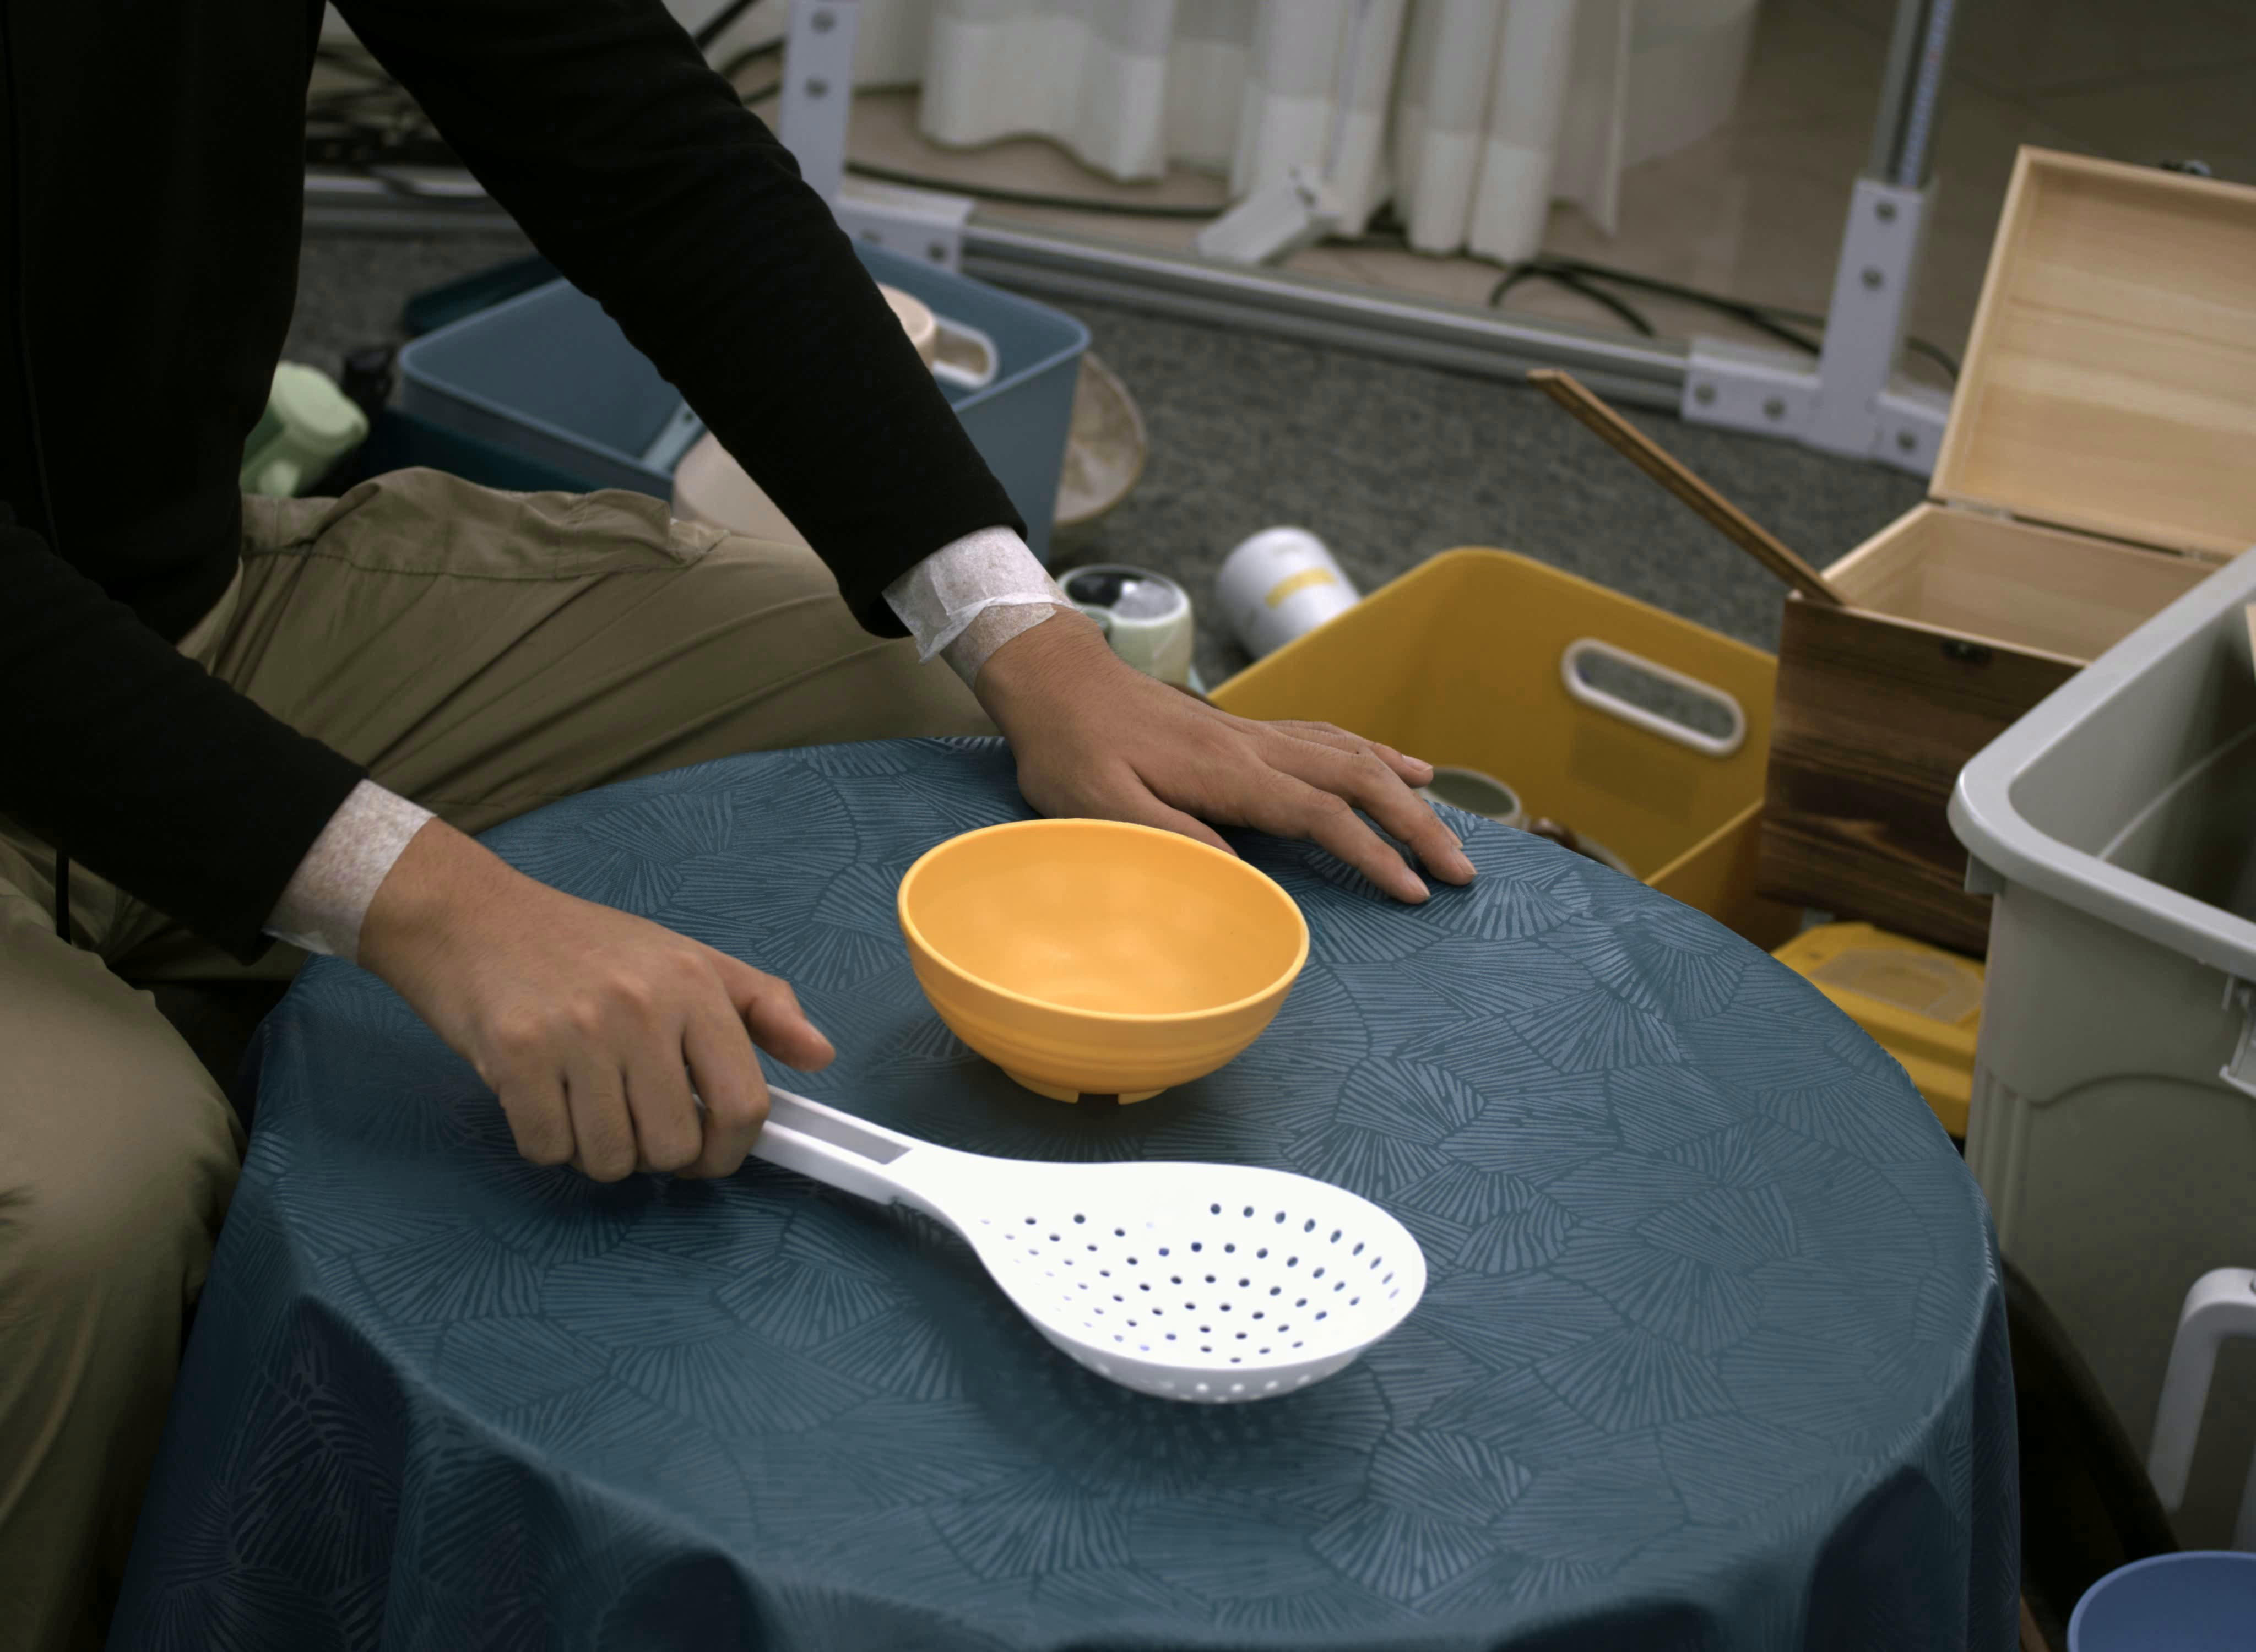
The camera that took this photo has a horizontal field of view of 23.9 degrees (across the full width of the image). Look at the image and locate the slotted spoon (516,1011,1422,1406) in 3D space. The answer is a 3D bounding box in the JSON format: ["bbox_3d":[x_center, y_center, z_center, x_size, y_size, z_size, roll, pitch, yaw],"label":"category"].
[{"bbox_3d":[-0.063,0.118,1.748,0.352,0.045,0.135,22,32,29],"label":"slotted spoon"}]

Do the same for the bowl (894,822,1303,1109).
[{"bbox_3d":[-0.014,0.058,1.867,0.145,0.060,0.146,7,26,-4],"label":"bowl"}]
